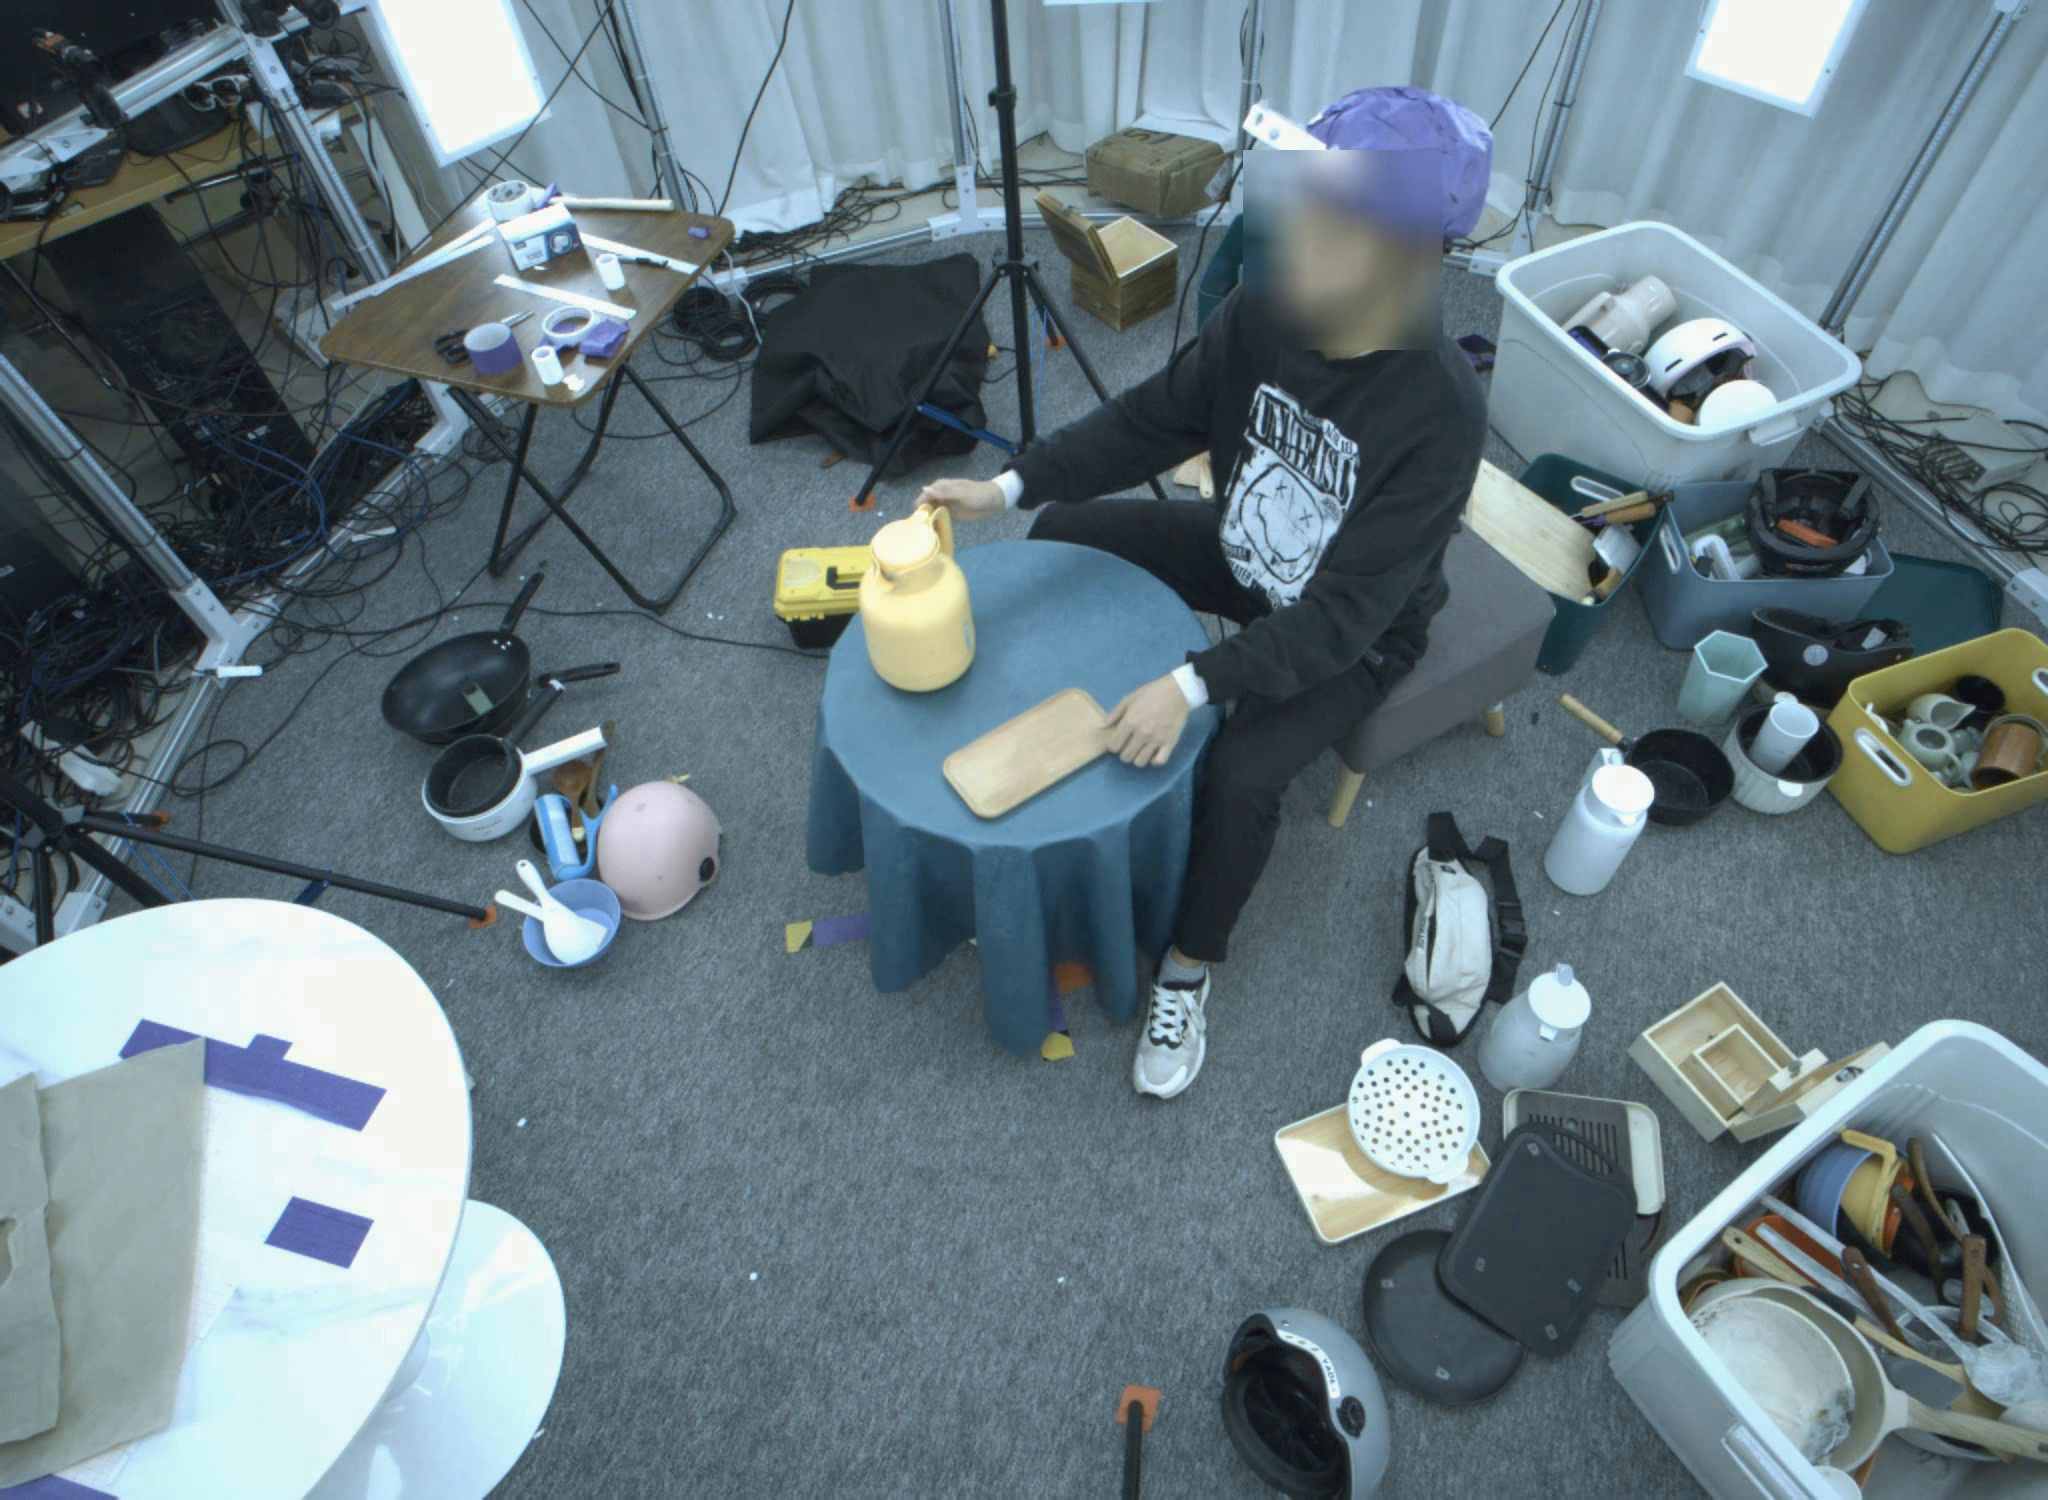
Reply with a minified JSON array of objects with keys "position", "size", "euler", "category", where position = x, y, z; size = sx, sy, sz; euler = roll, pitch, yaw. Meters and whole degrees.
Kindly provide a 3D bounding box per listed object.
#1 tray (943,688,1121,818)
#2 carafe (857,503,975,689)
[{"position":[0.013,0.003,1.770],"size":[0.253,0.023,0.128],"euler":[-29,61,-18],"category":"tray"},{"position":[-0.152,-0.232,1.791],"size":[0.162,0.263,0.202],"euler":[19,59,13],"category":"carafe"}]
